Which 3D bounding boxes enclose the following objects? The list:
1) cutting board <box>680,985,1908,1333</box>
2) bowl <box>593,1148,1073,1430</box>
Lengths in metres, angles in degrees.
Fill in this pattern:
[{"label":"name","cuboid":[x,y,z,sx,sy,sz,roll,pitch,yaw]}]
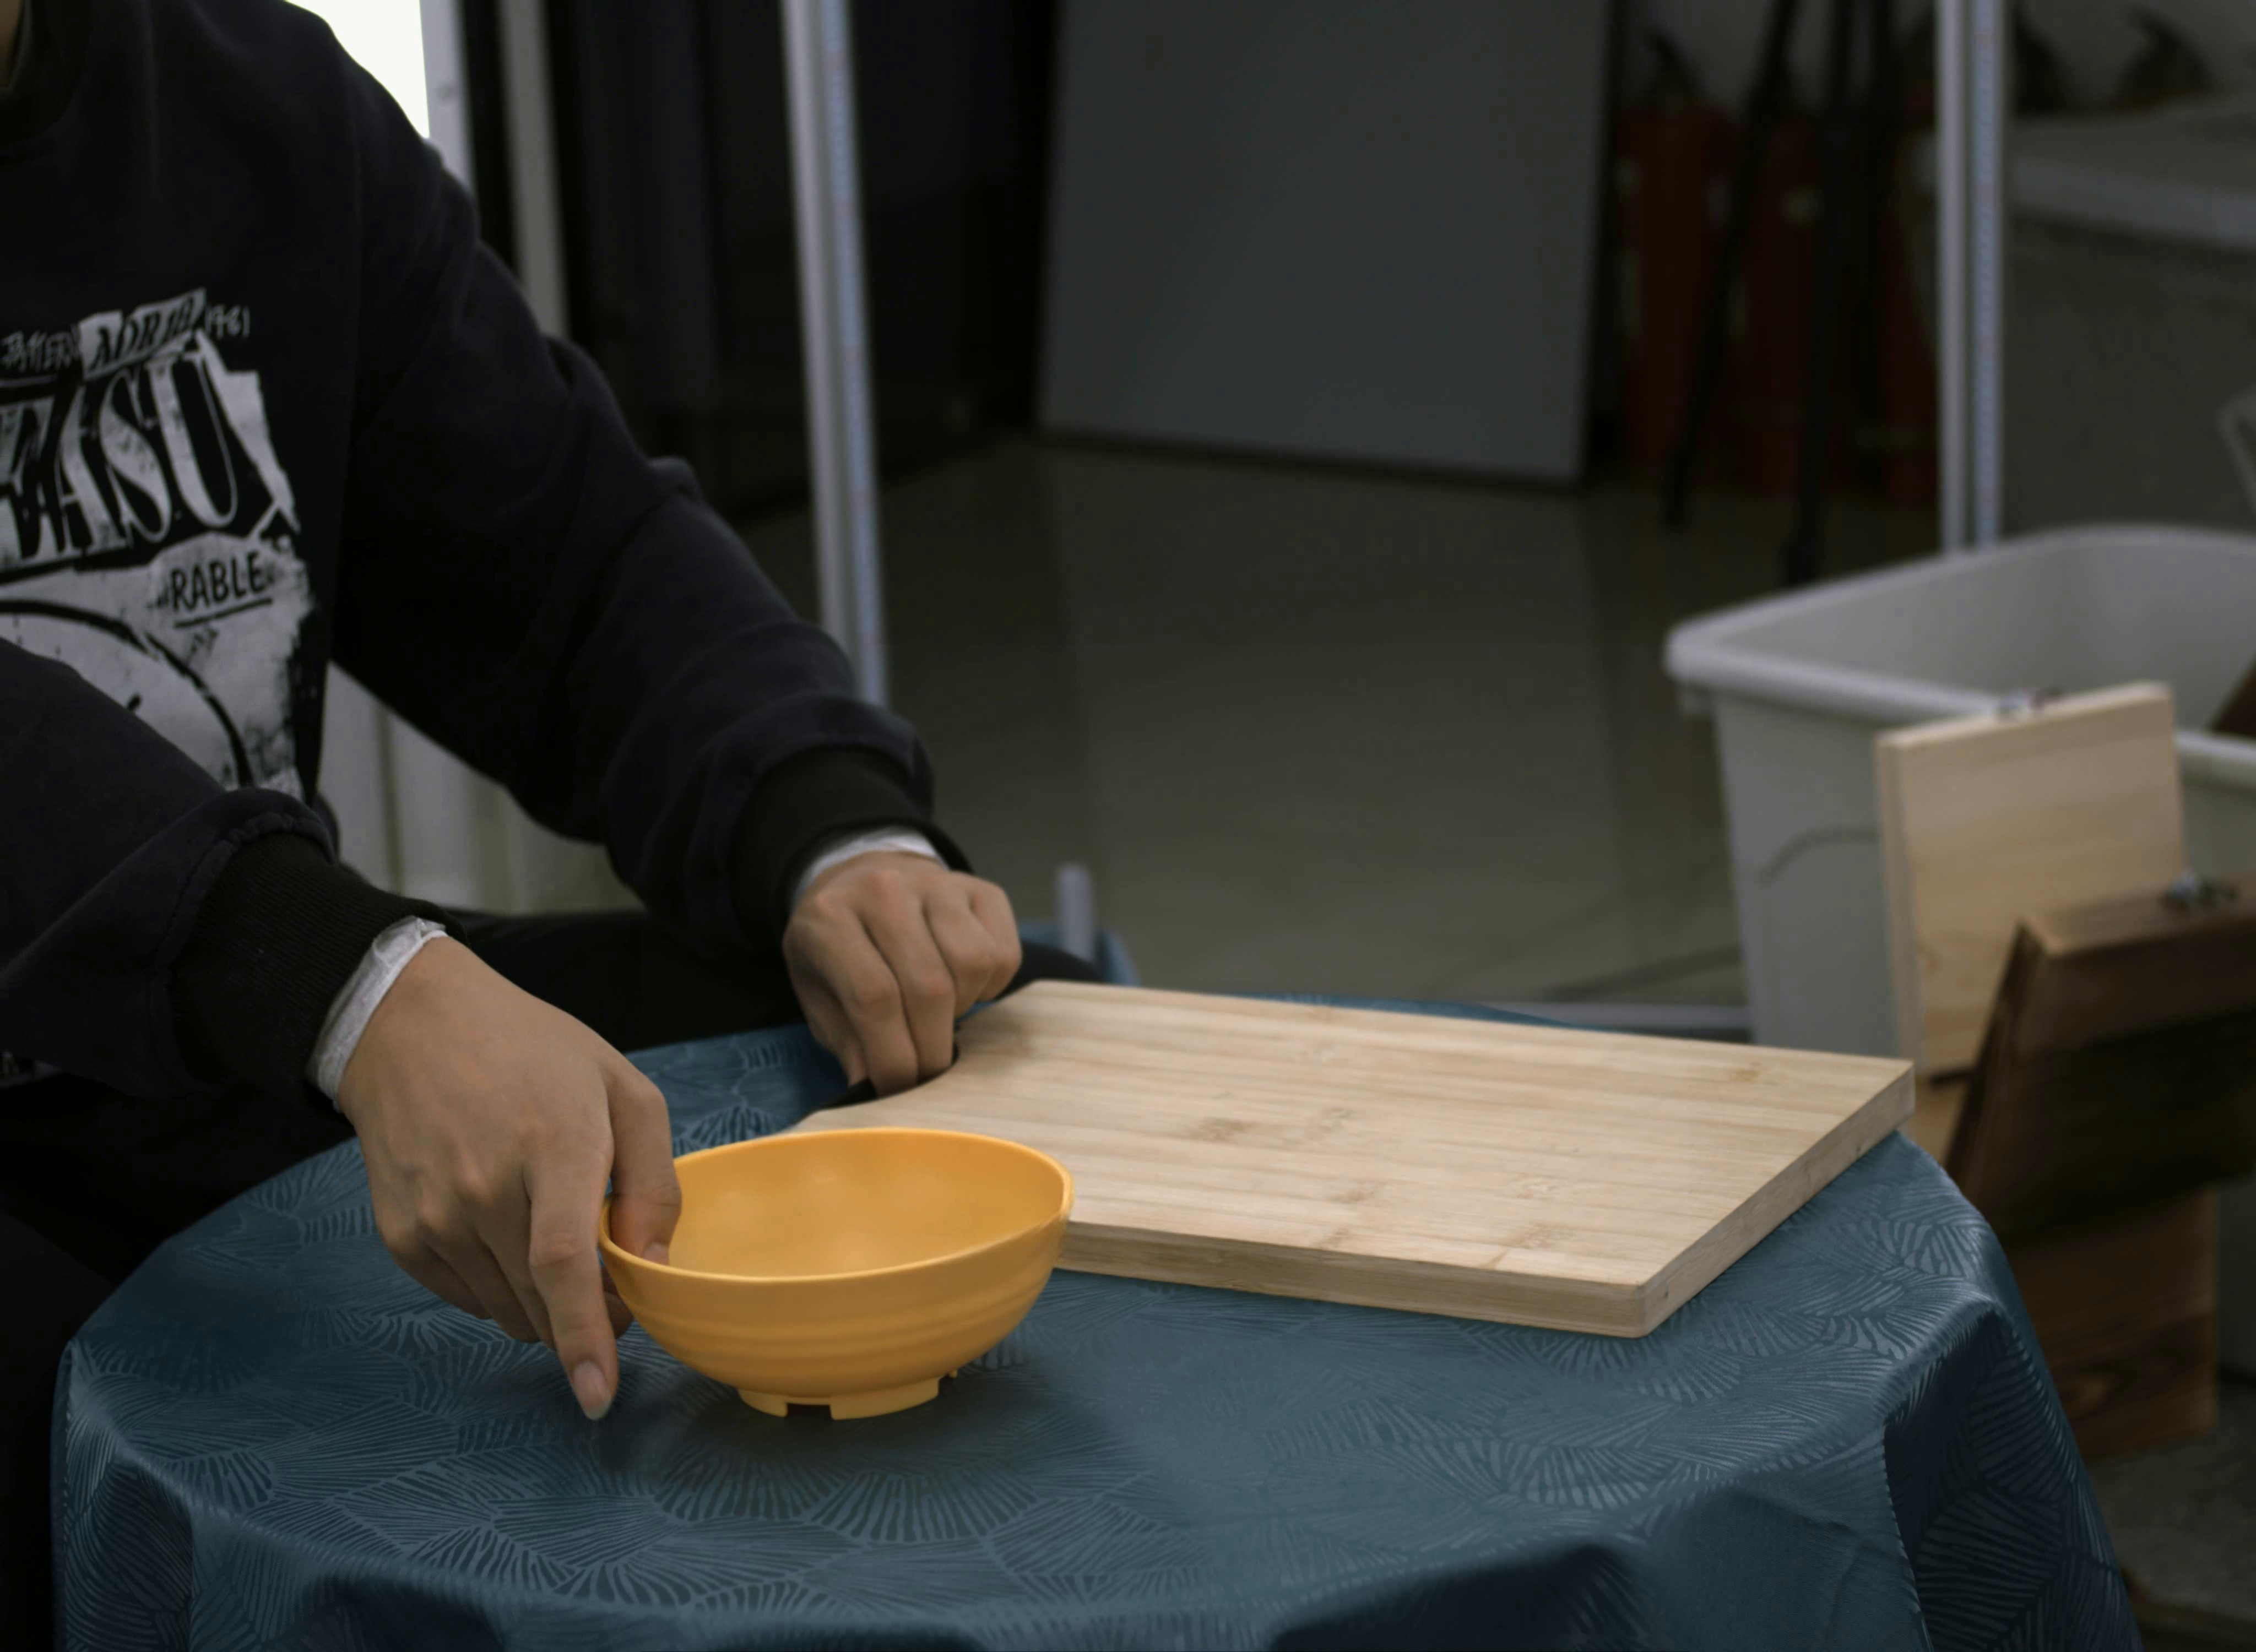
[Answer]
[{"label":"cutting board","cuboid":[0.057,0.105,1.784,0.349,0.024,0.247,3,15,28]},{"label":"bowl","cuboid":[-0.085,0.141,1.601,0.143,0.061,0.145,-4,11,0]}]
